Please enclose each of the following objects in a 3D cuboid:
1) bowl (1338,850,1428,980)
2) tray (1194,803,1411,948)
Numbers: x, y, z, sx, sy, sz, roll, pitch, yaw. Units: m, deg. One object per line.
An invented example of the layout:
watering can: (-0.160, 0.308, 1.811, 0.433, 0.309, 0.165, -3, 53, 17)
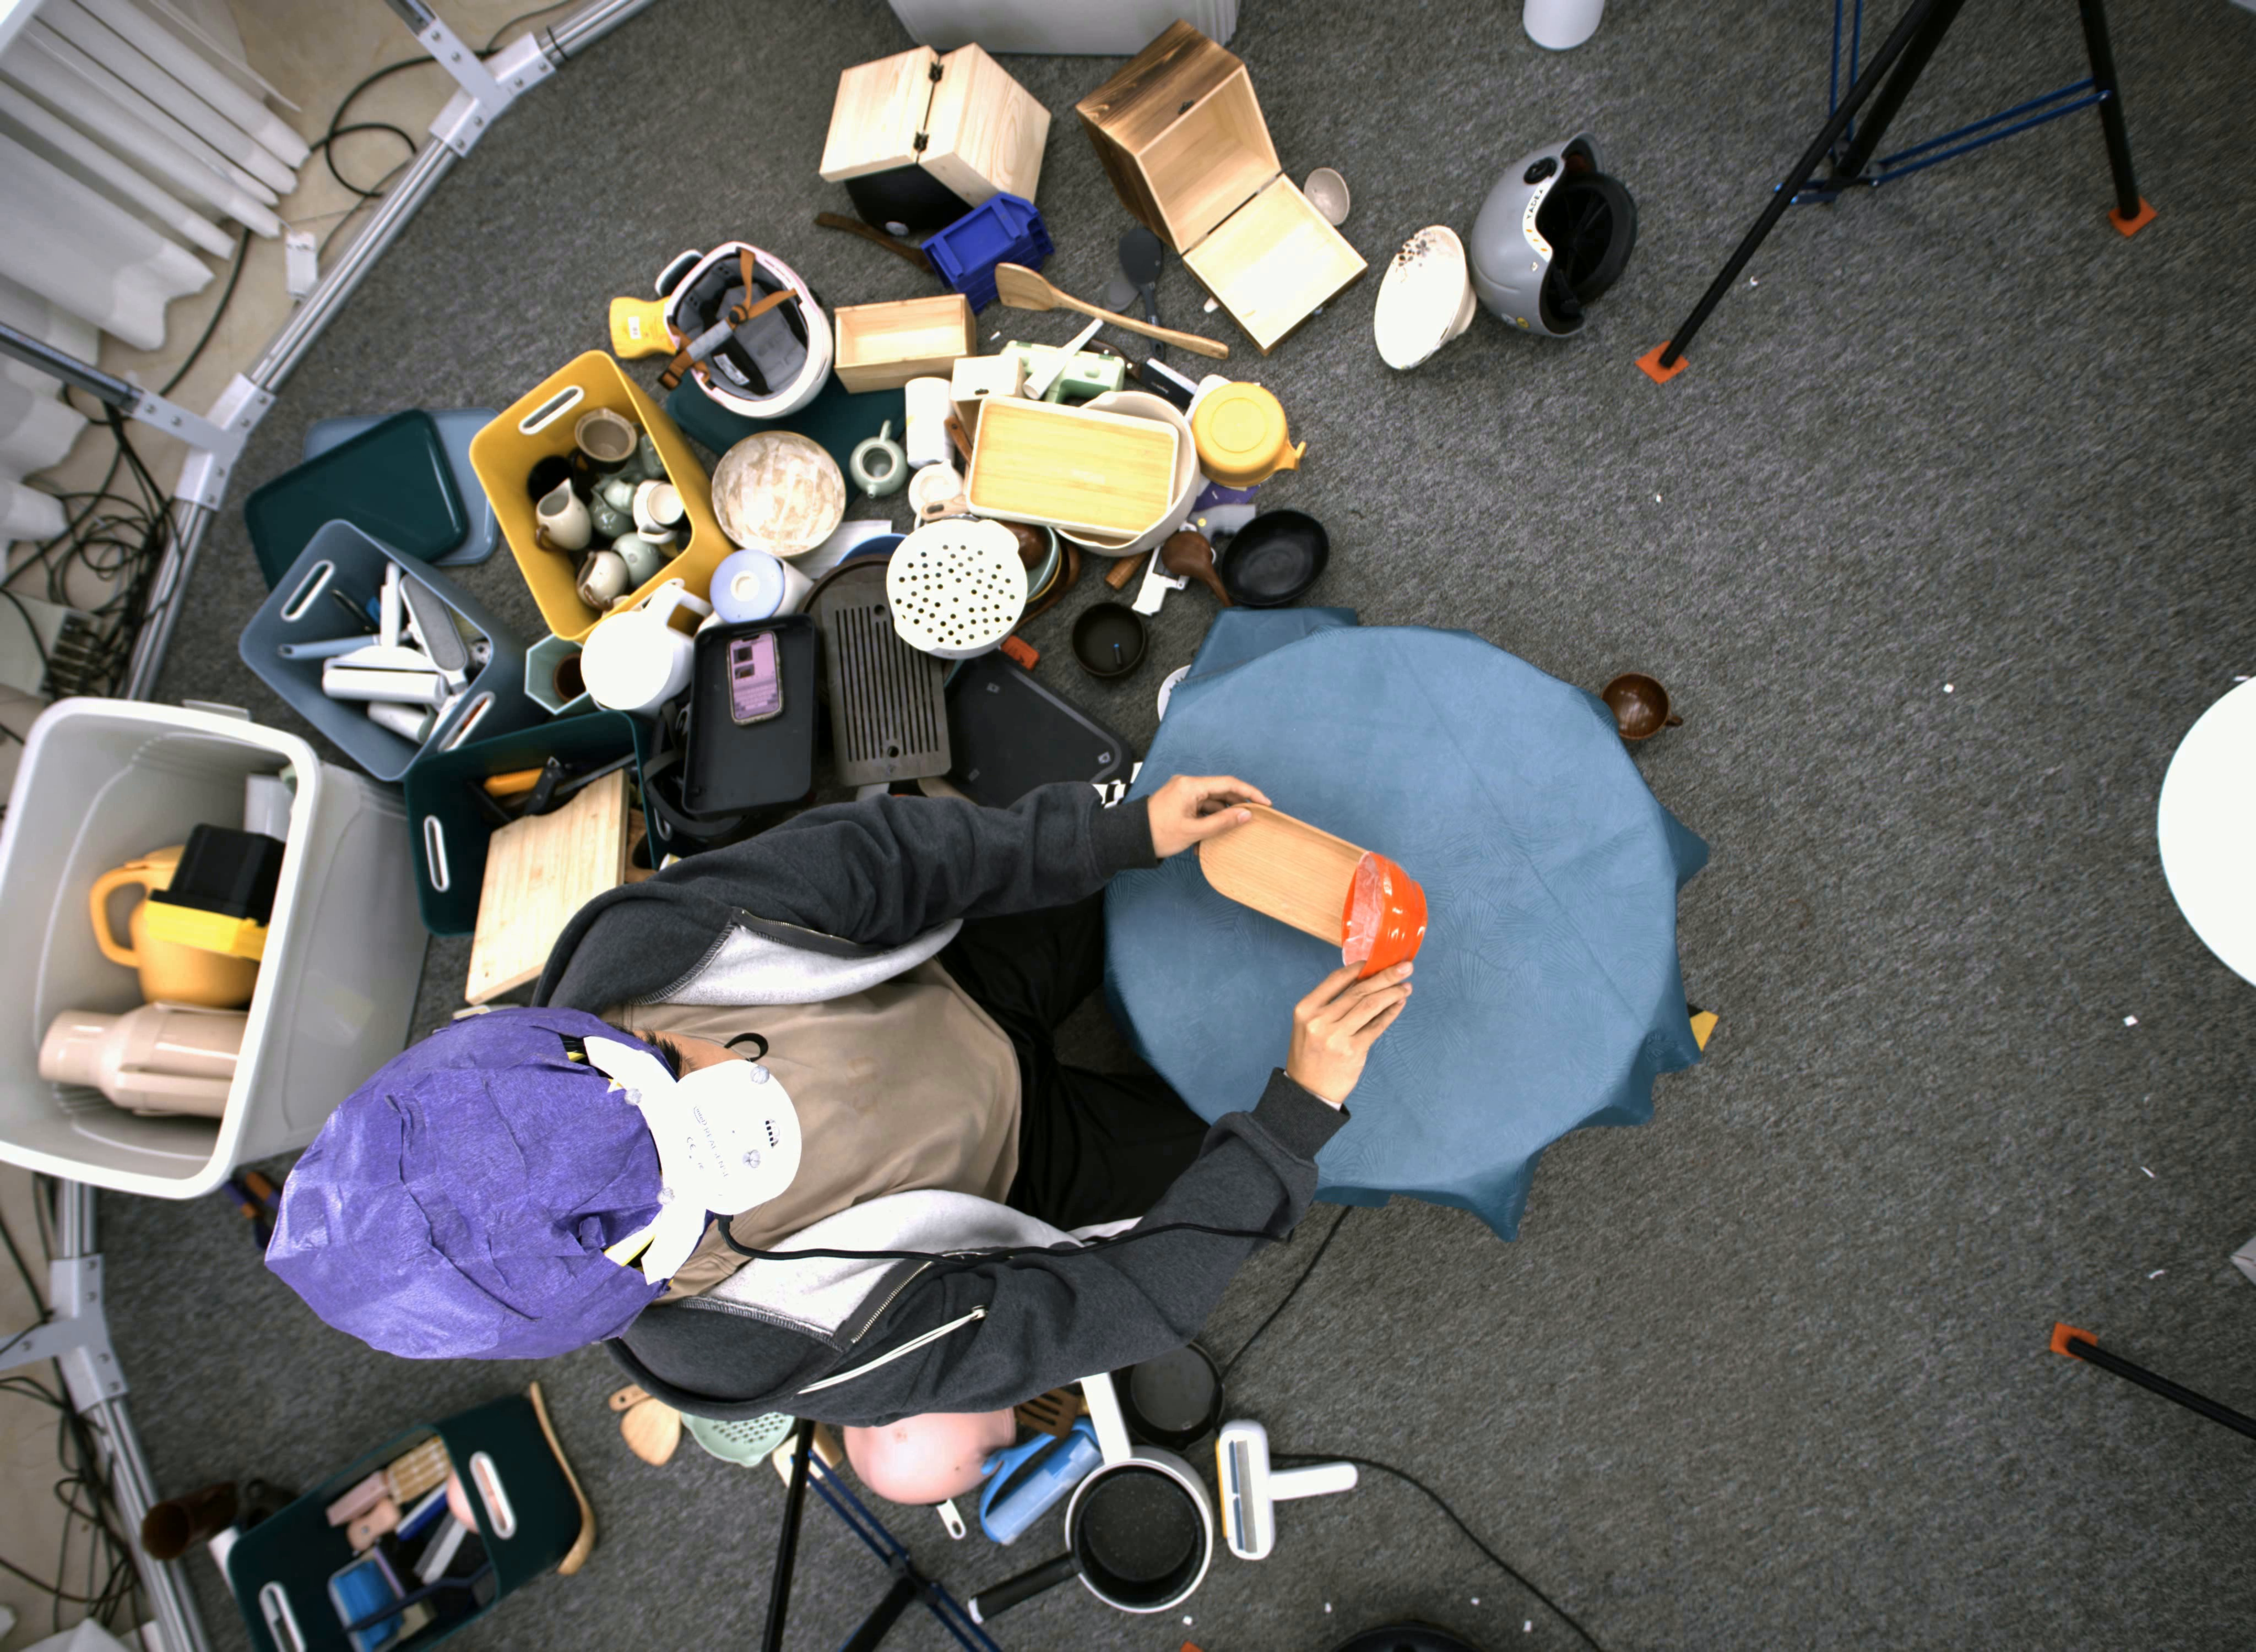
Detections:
bowl: (0.234, 0.083, 1.255, 0.051, 0.119, 0.118, 8, 86, -9)
tray: (0.178, 0.052, 1.395, 0.231, 0.020, 0.102, 22, 92, 3)
